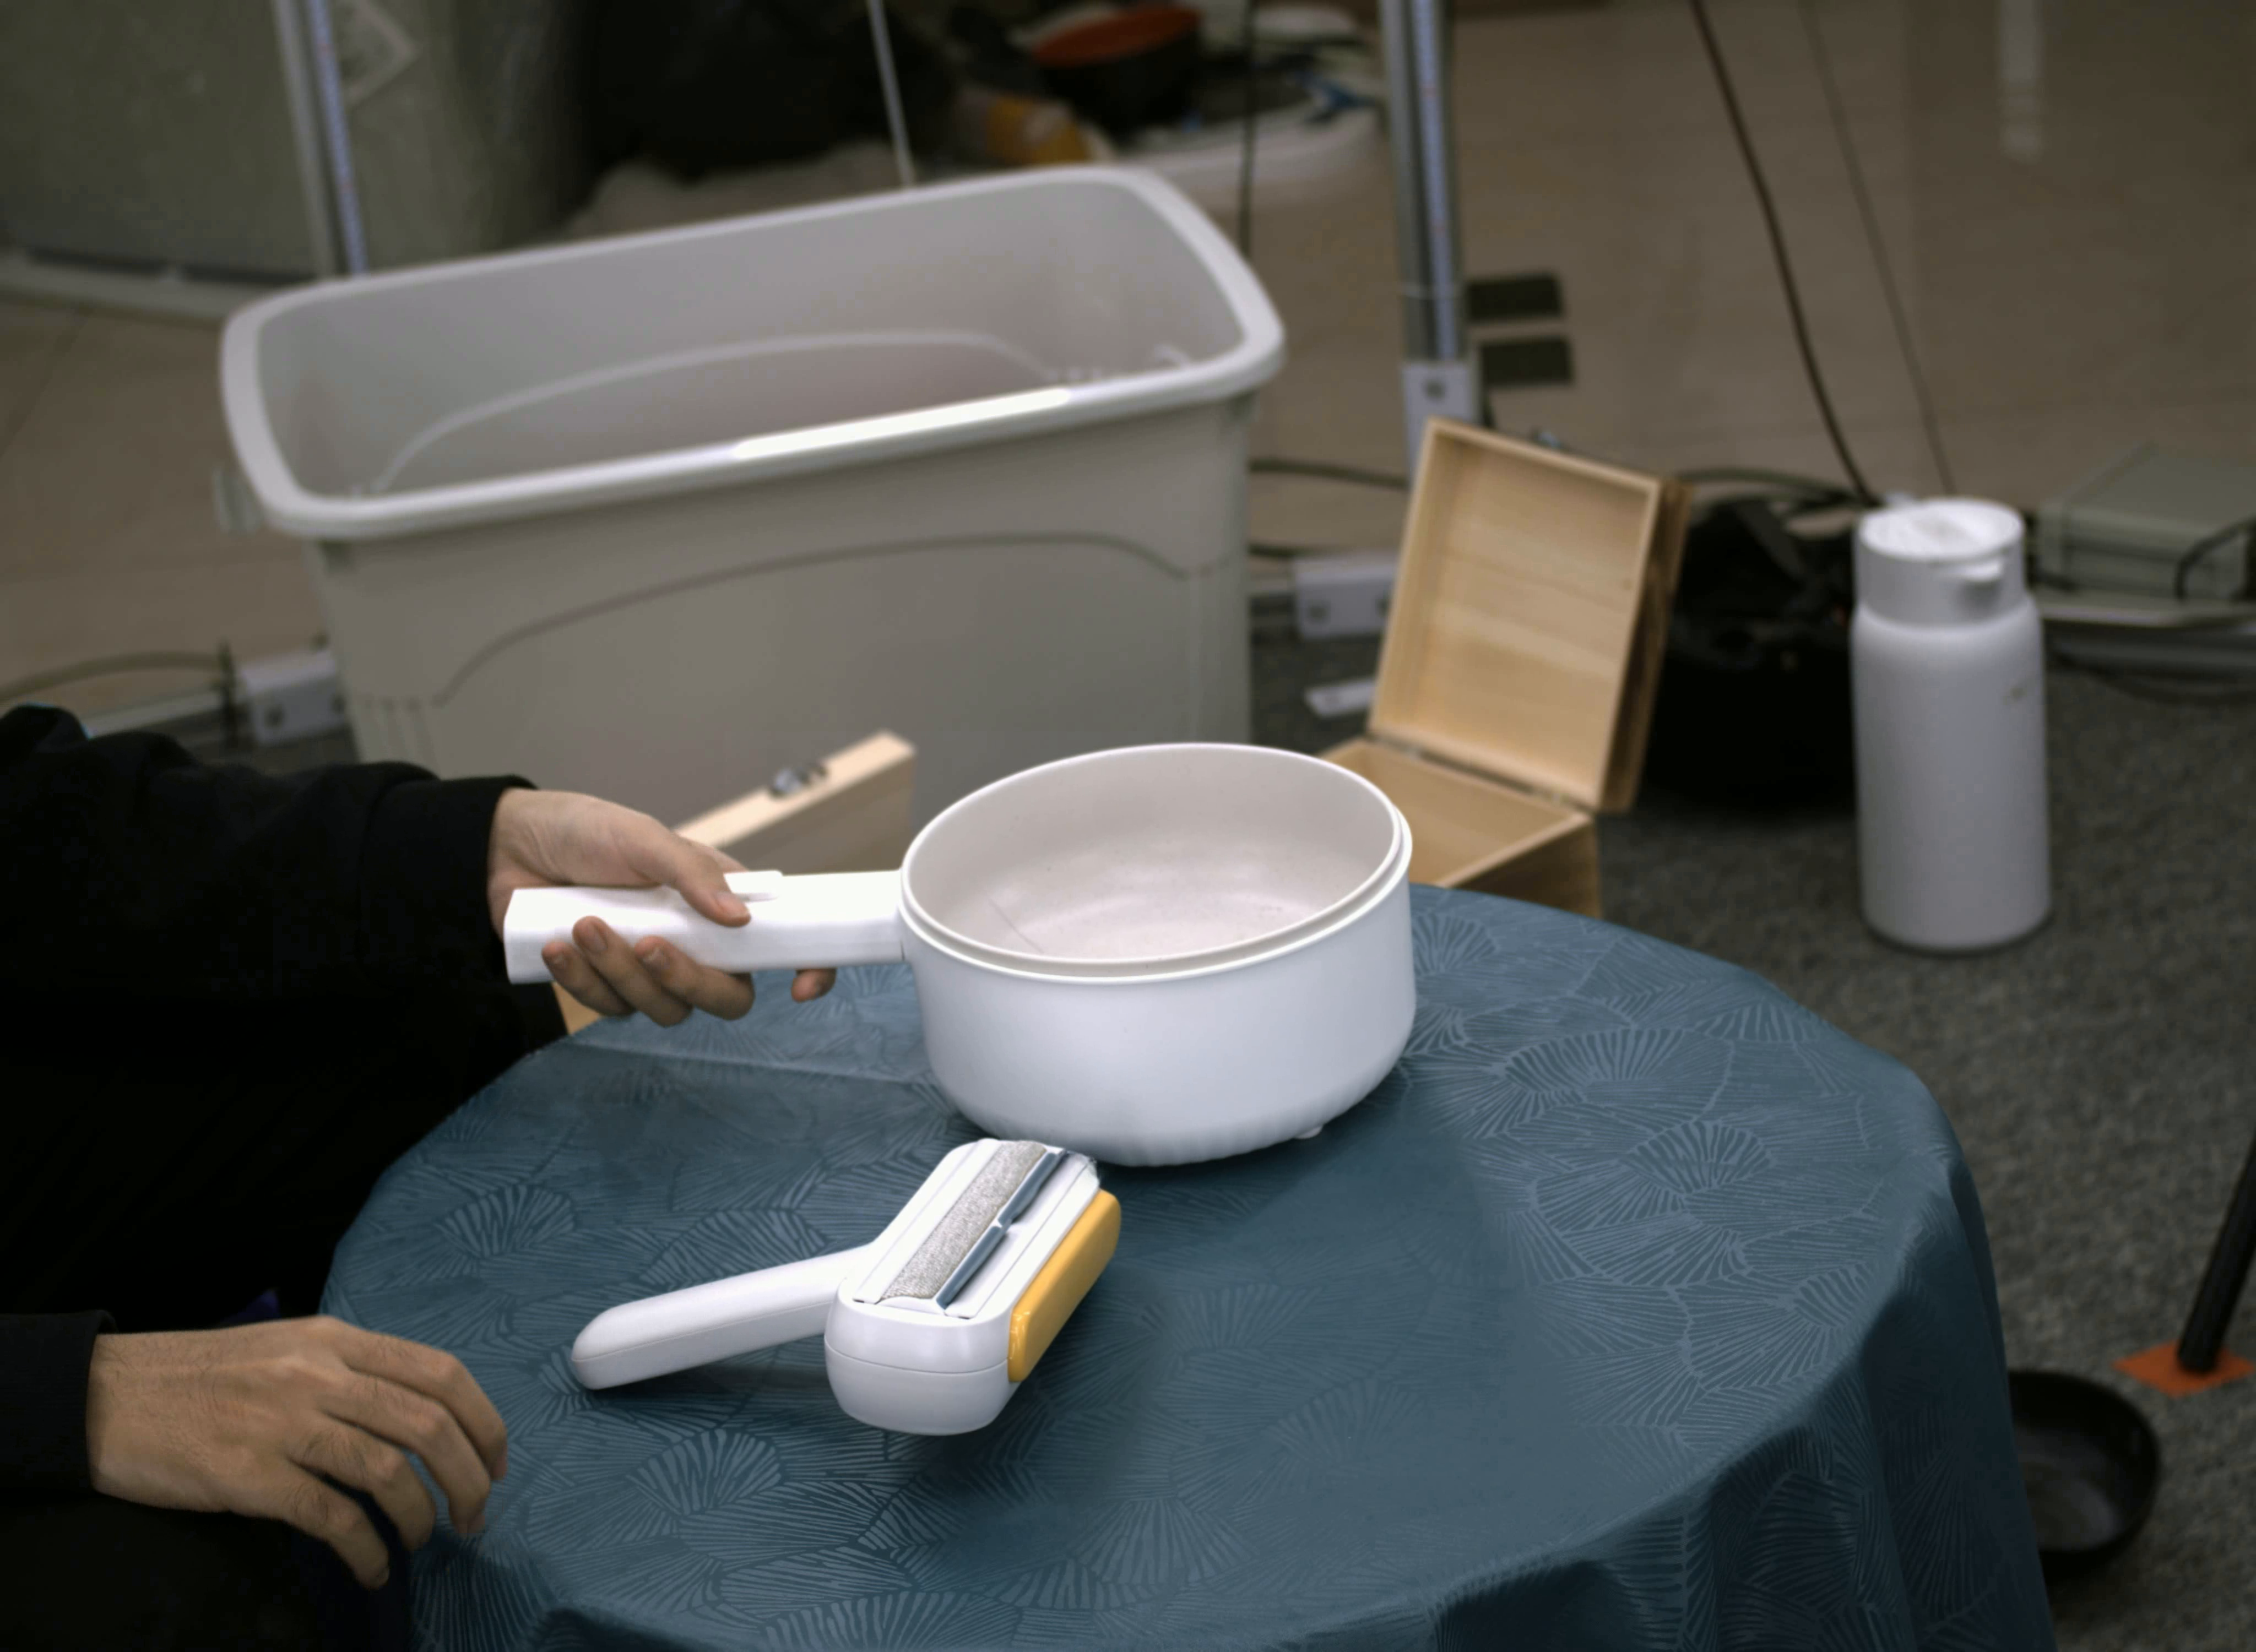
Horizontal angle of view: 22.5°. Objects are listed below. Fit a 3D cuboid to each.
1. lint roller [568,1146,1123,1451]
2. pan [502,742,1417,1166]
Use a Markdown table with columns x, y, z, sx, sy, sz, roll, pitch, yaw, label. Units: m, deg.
| x | y | z | sx | sy | sz | roll | pitch | yaw | label |
| --- | --- | --- | --- | --- | --- | --- | --- | --- | --- |
| -0.112 | 0.170 | 2.023 | 0.192 | 0.075 | 0.190 | 0 | 21 | 18 | lint roller |
| -0.062 | 0.059 | 2.207 | 0.354 | 0.104 | 0.198 | -5 | 26 | 5 | pan |
